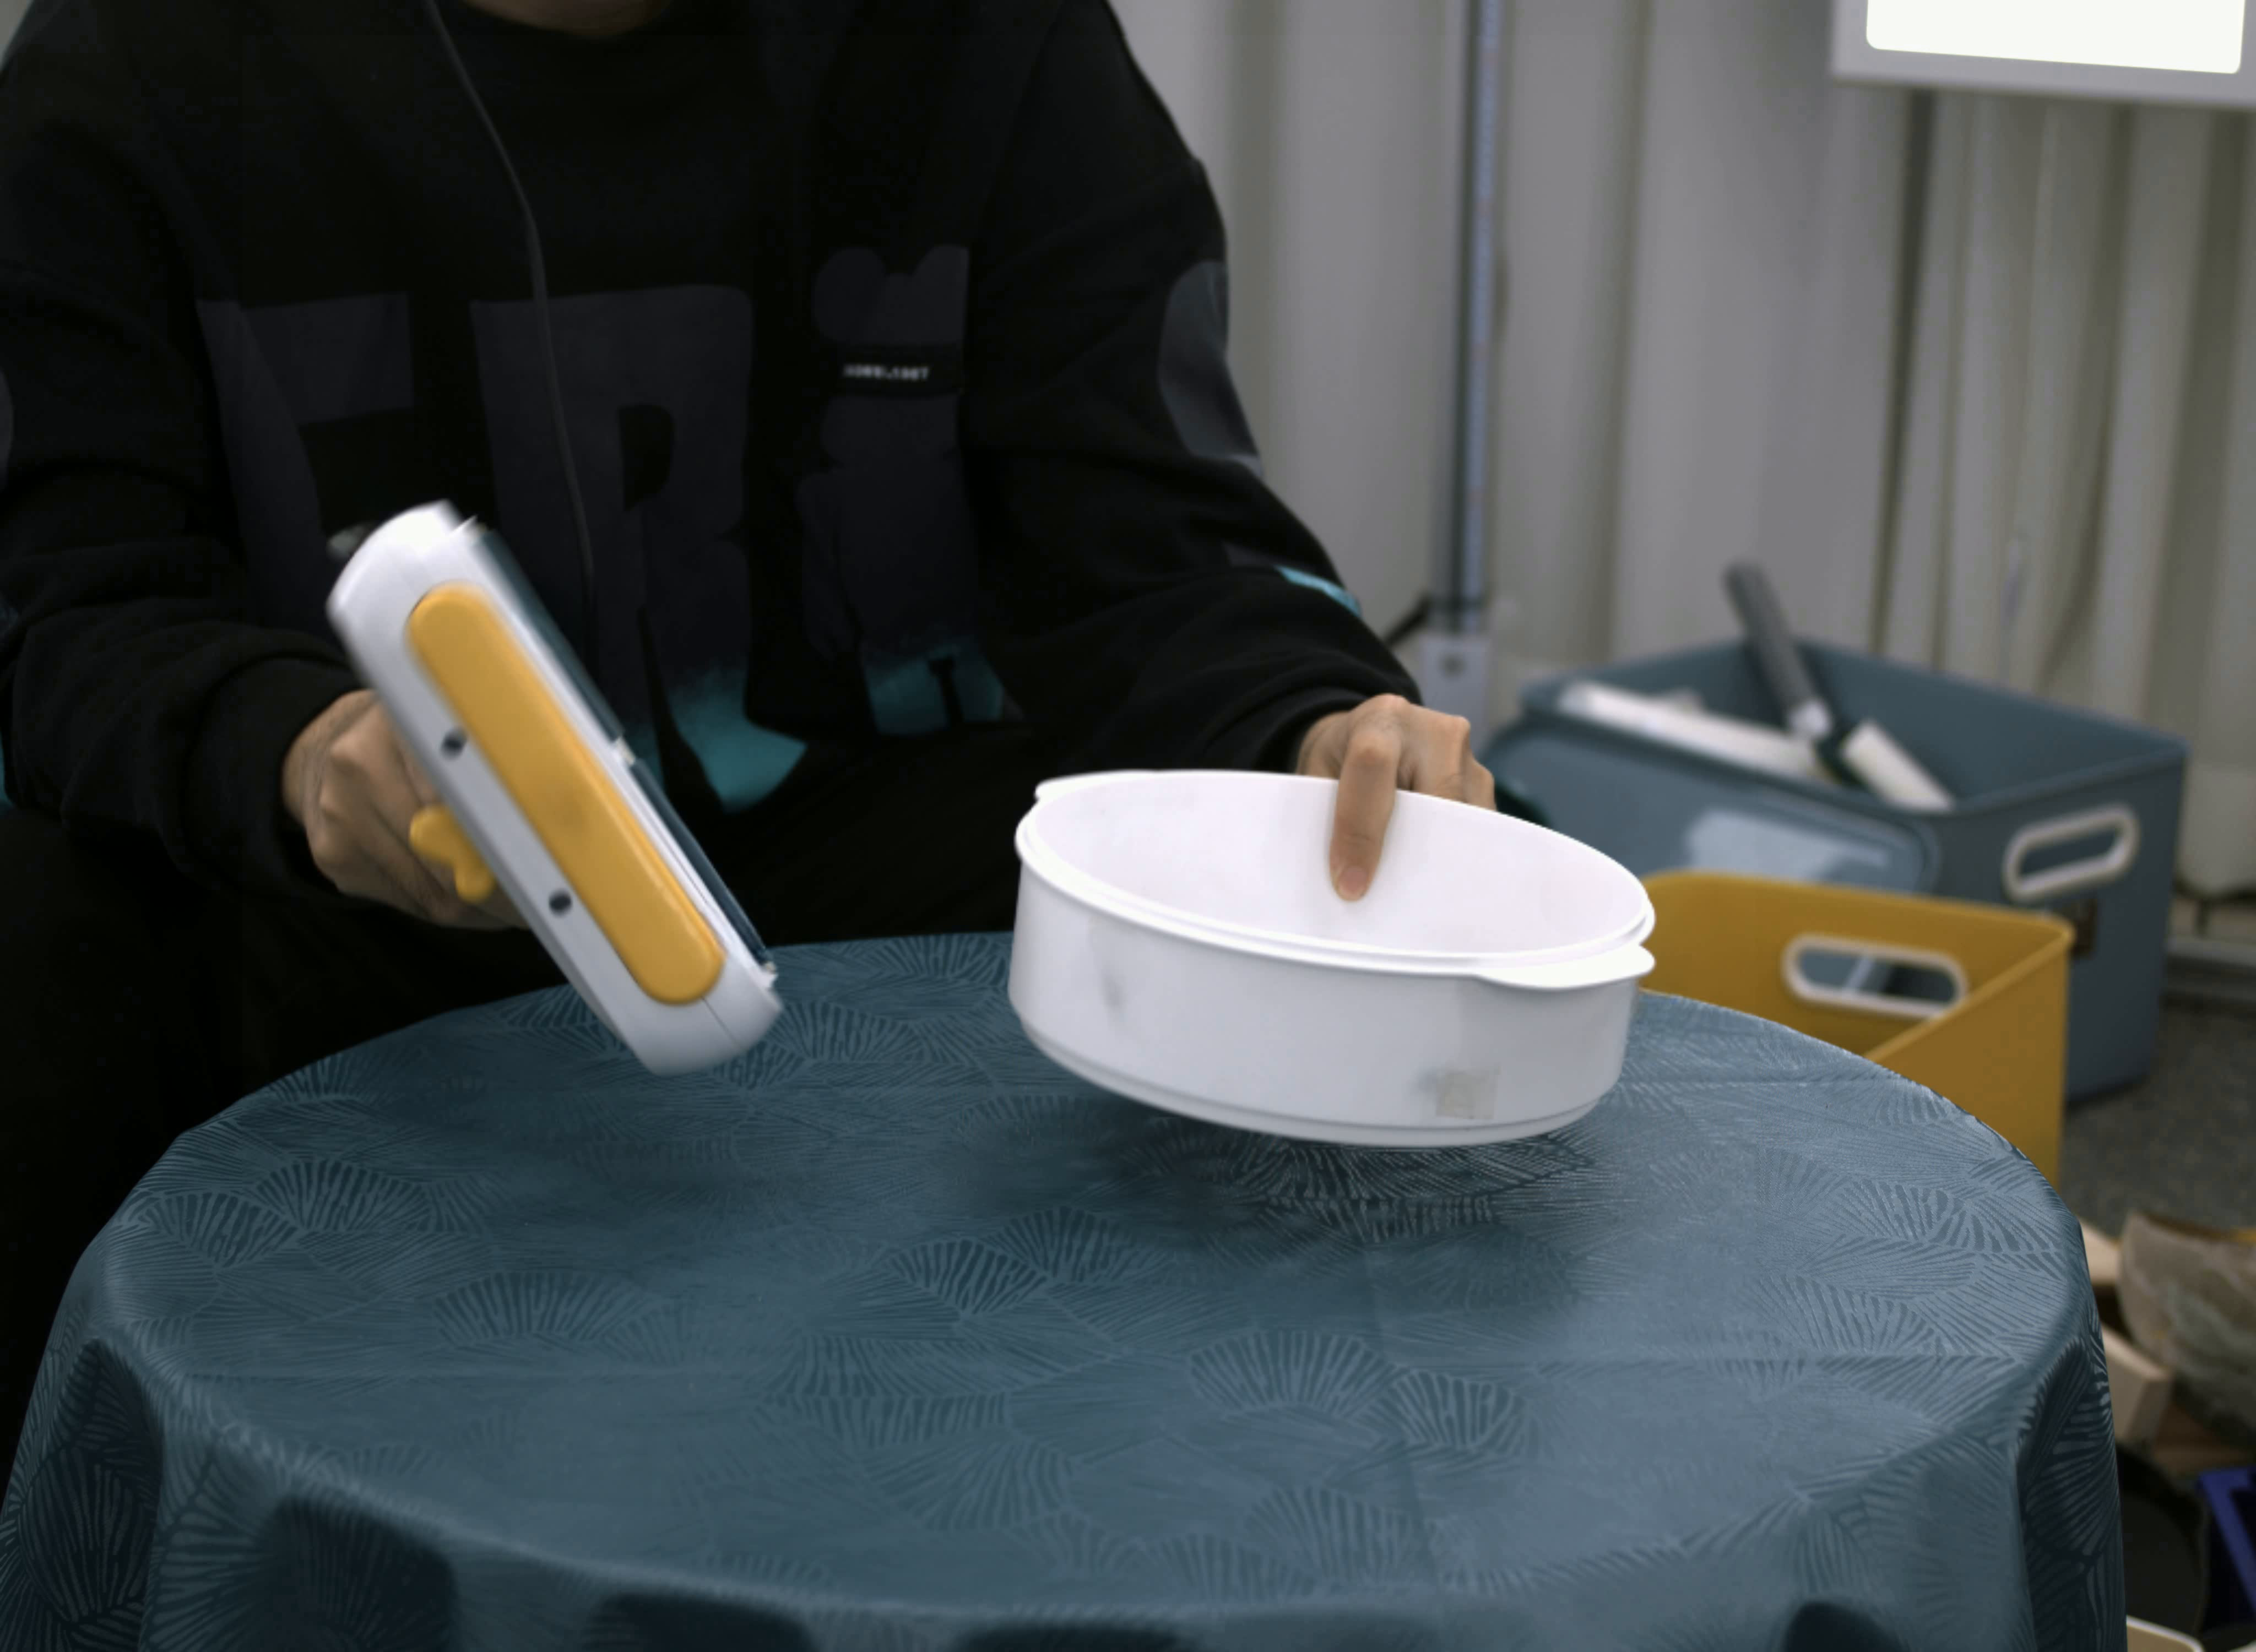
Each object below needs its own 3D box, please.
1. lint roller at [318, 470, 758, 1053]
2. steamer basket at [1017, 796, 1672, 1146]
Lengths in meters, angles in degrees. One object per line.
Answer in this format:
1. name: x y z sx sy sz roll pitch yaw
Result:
1. lint roller: -0.193 -0.009 1.645 0.074 0.193 0.192 -37 3 -12
2. steamer basket: 0.064 0.045 1.632 0.227 0.069 0.203 18 16 42
